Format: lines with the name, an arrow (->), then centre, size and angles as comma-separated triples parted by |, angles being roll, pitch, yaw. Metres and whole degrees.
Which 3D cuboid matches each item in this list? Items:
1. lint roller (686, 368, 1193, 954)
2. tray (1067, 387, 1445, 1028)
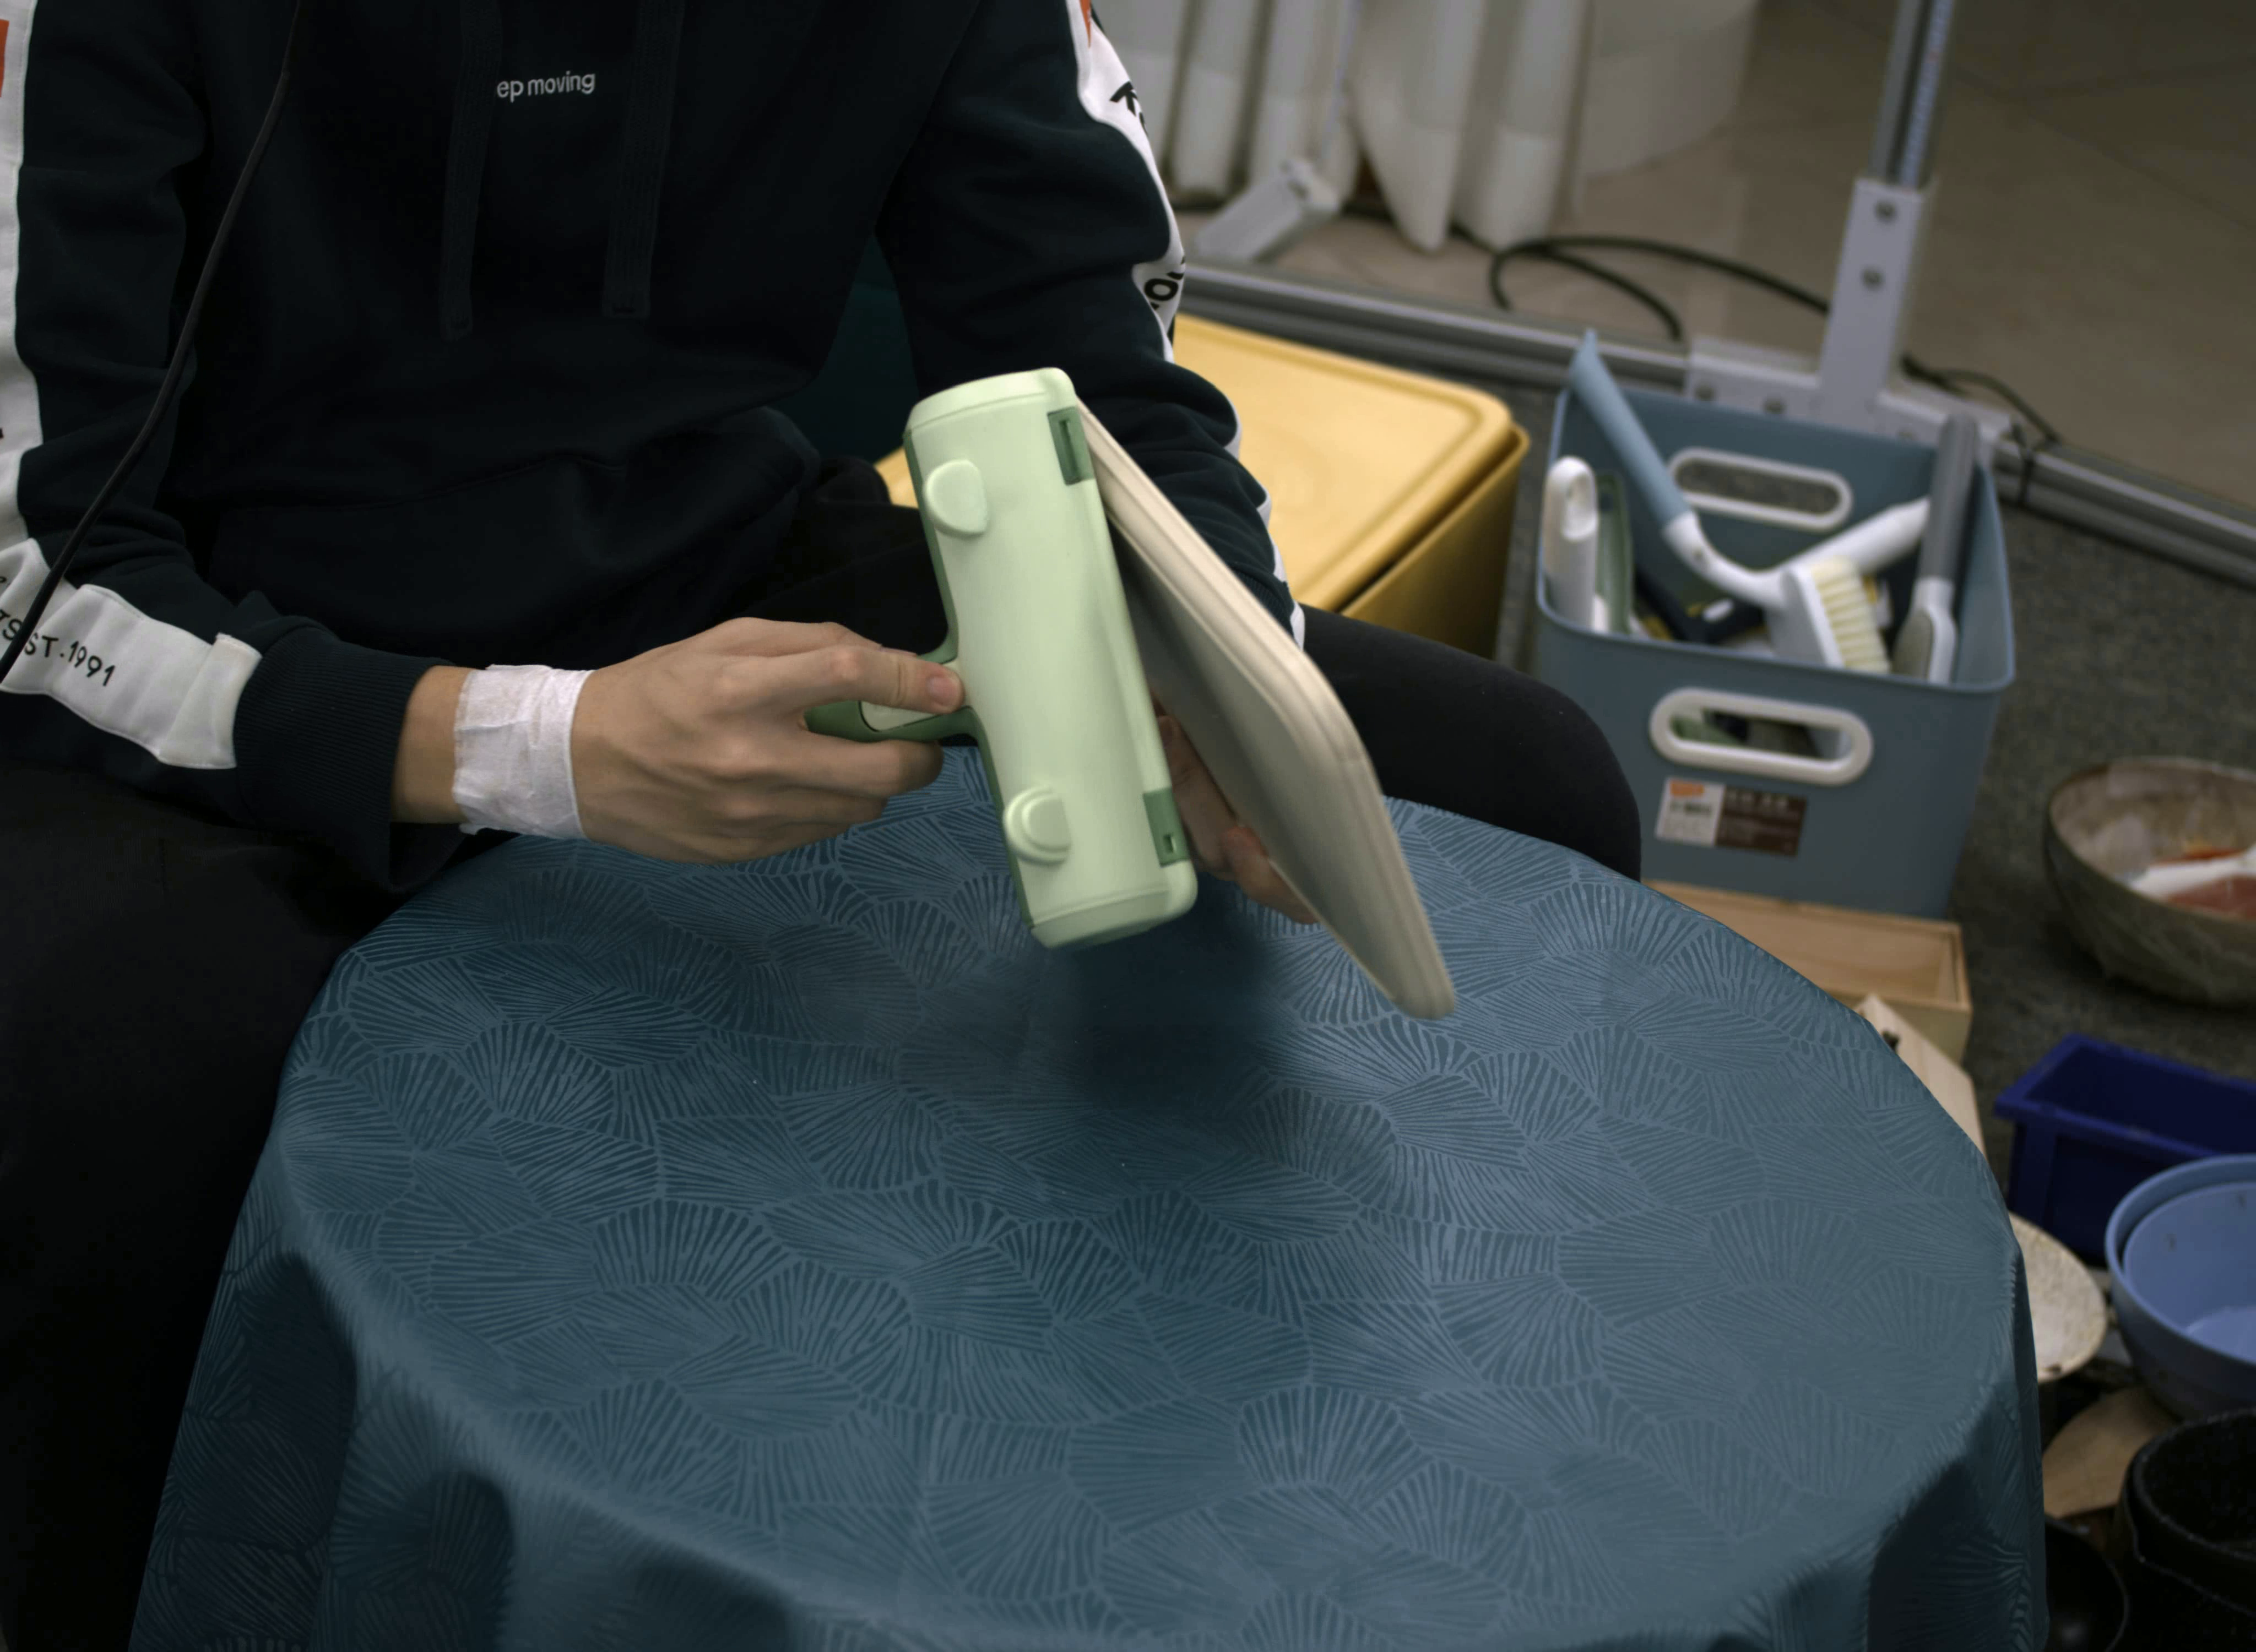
lint roller -> -0.082, -0.042, 1.838 | 0.183, 0.199, 0.082 | -15, -5, 18
tray -> 0.034, -0.041, 1.846 | 0.017, 0.170, 0.242 | -29, 41, -9
